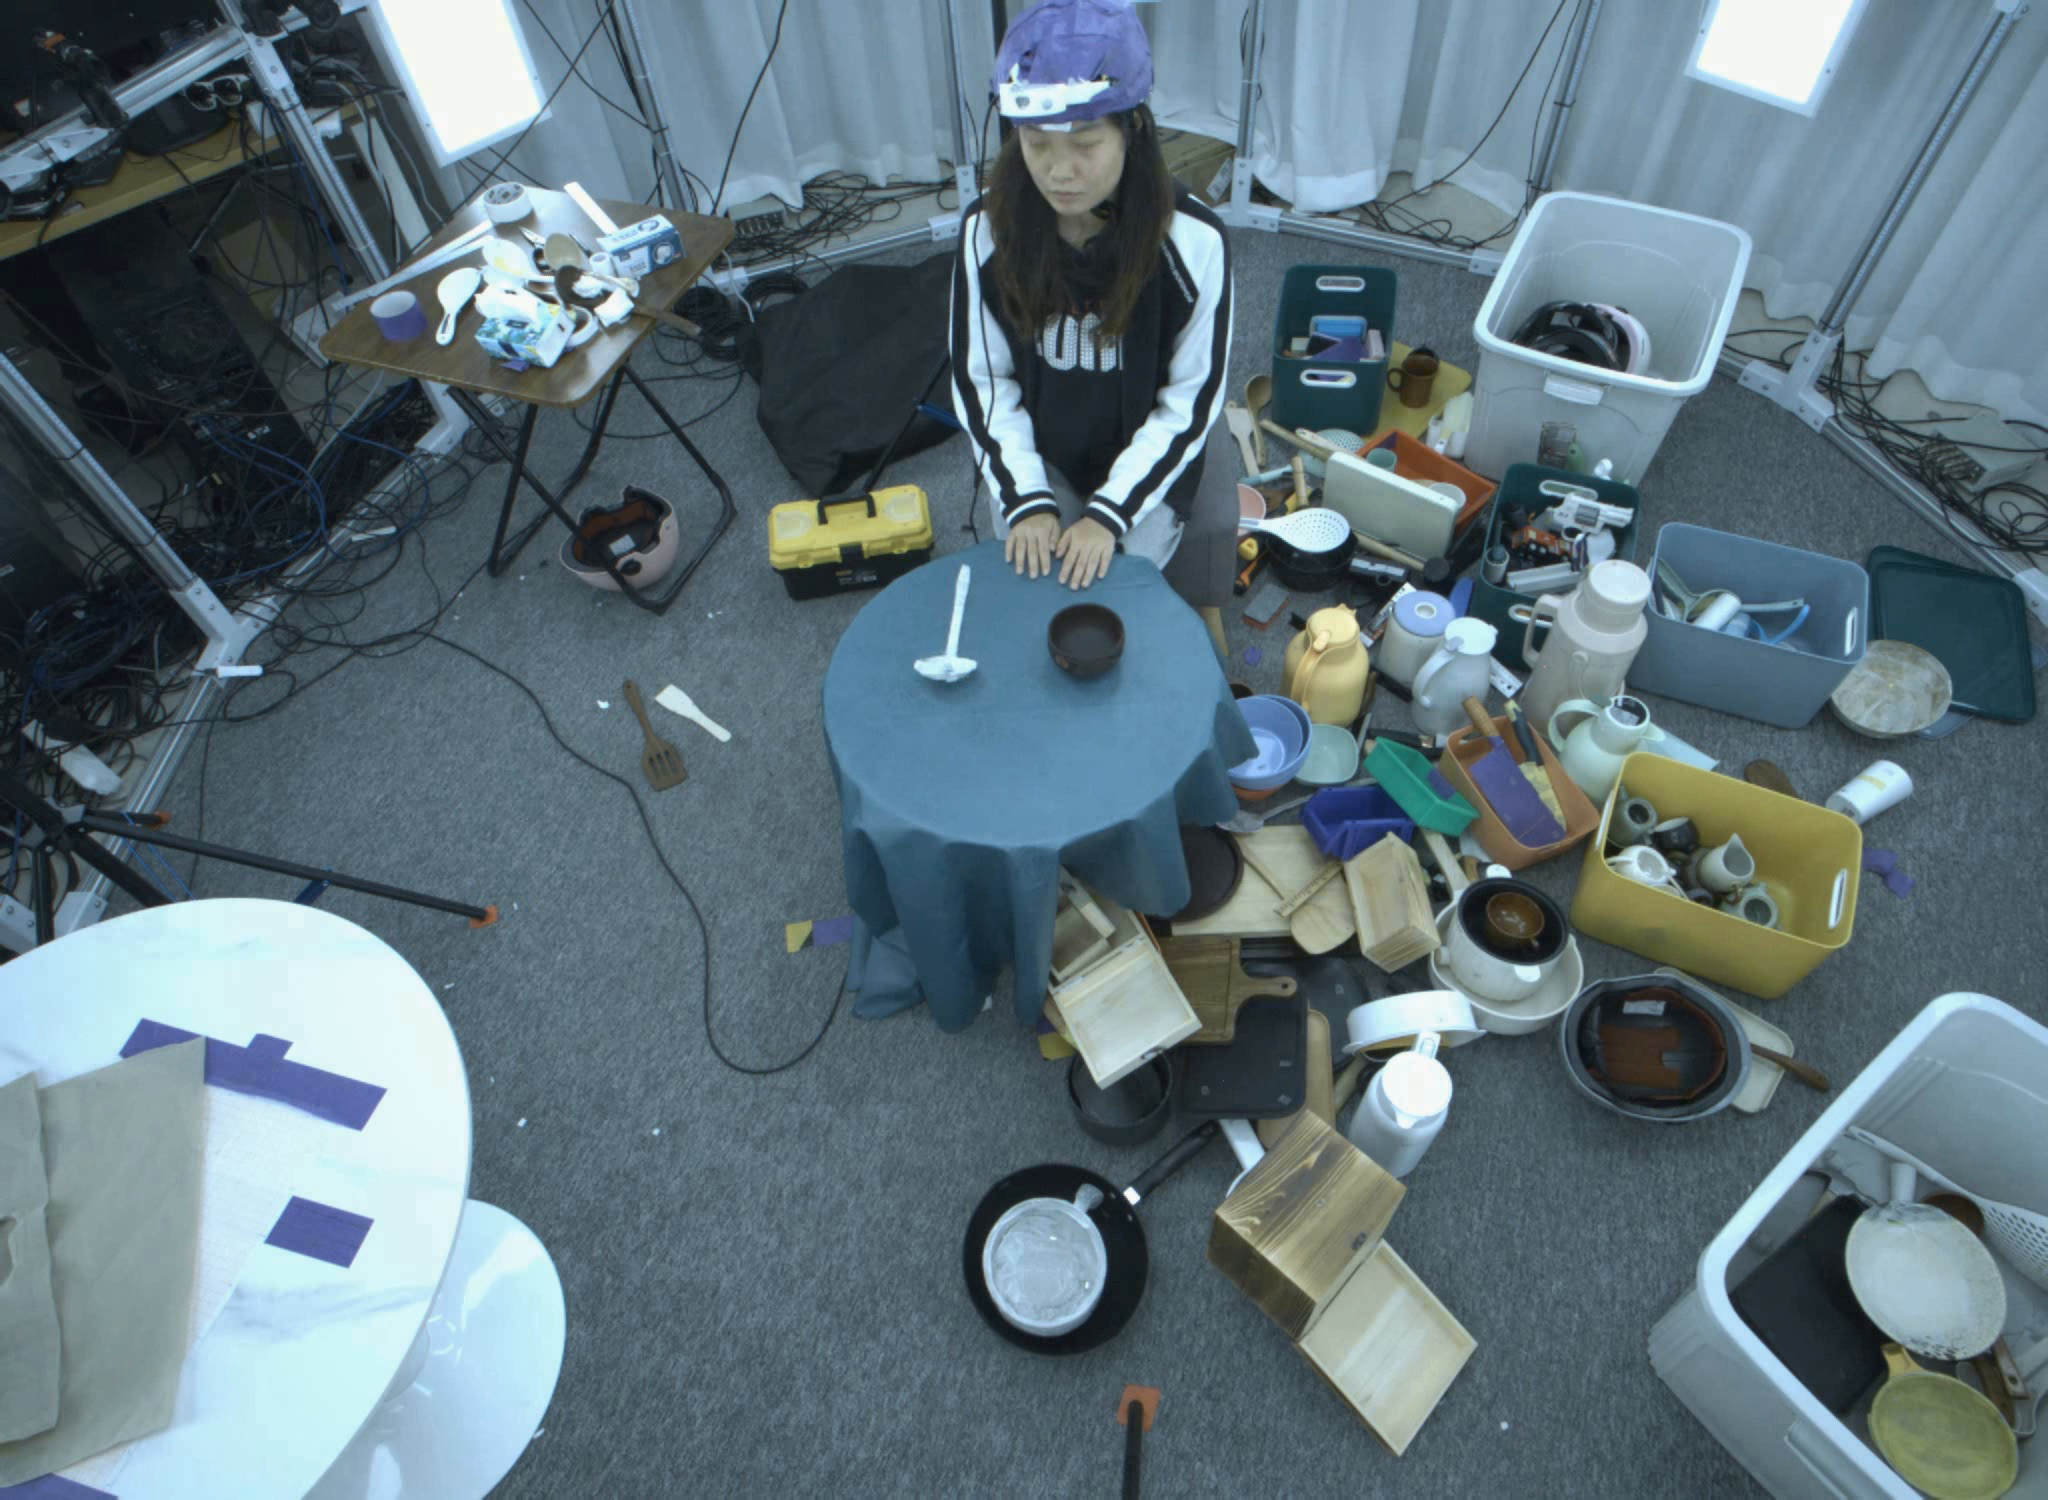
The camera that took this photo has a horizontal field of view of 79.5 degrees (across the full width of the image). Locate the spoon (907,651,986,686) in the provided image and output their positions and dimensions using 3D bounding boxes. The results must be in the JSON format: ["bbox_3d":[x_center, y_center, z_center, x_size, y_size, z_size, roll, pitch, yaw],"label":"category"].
[{"bbox_3d":[-0.143,-0.109,1.938,0.102,0.274,0.059,-2,81,-23],"label":"spoon"}]

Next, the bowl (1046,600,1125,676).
[{"bbox_3d":[0.093,-0.160,1.853,0.118,0.070,0.117,0,55,2],"label":"bowl"}]
